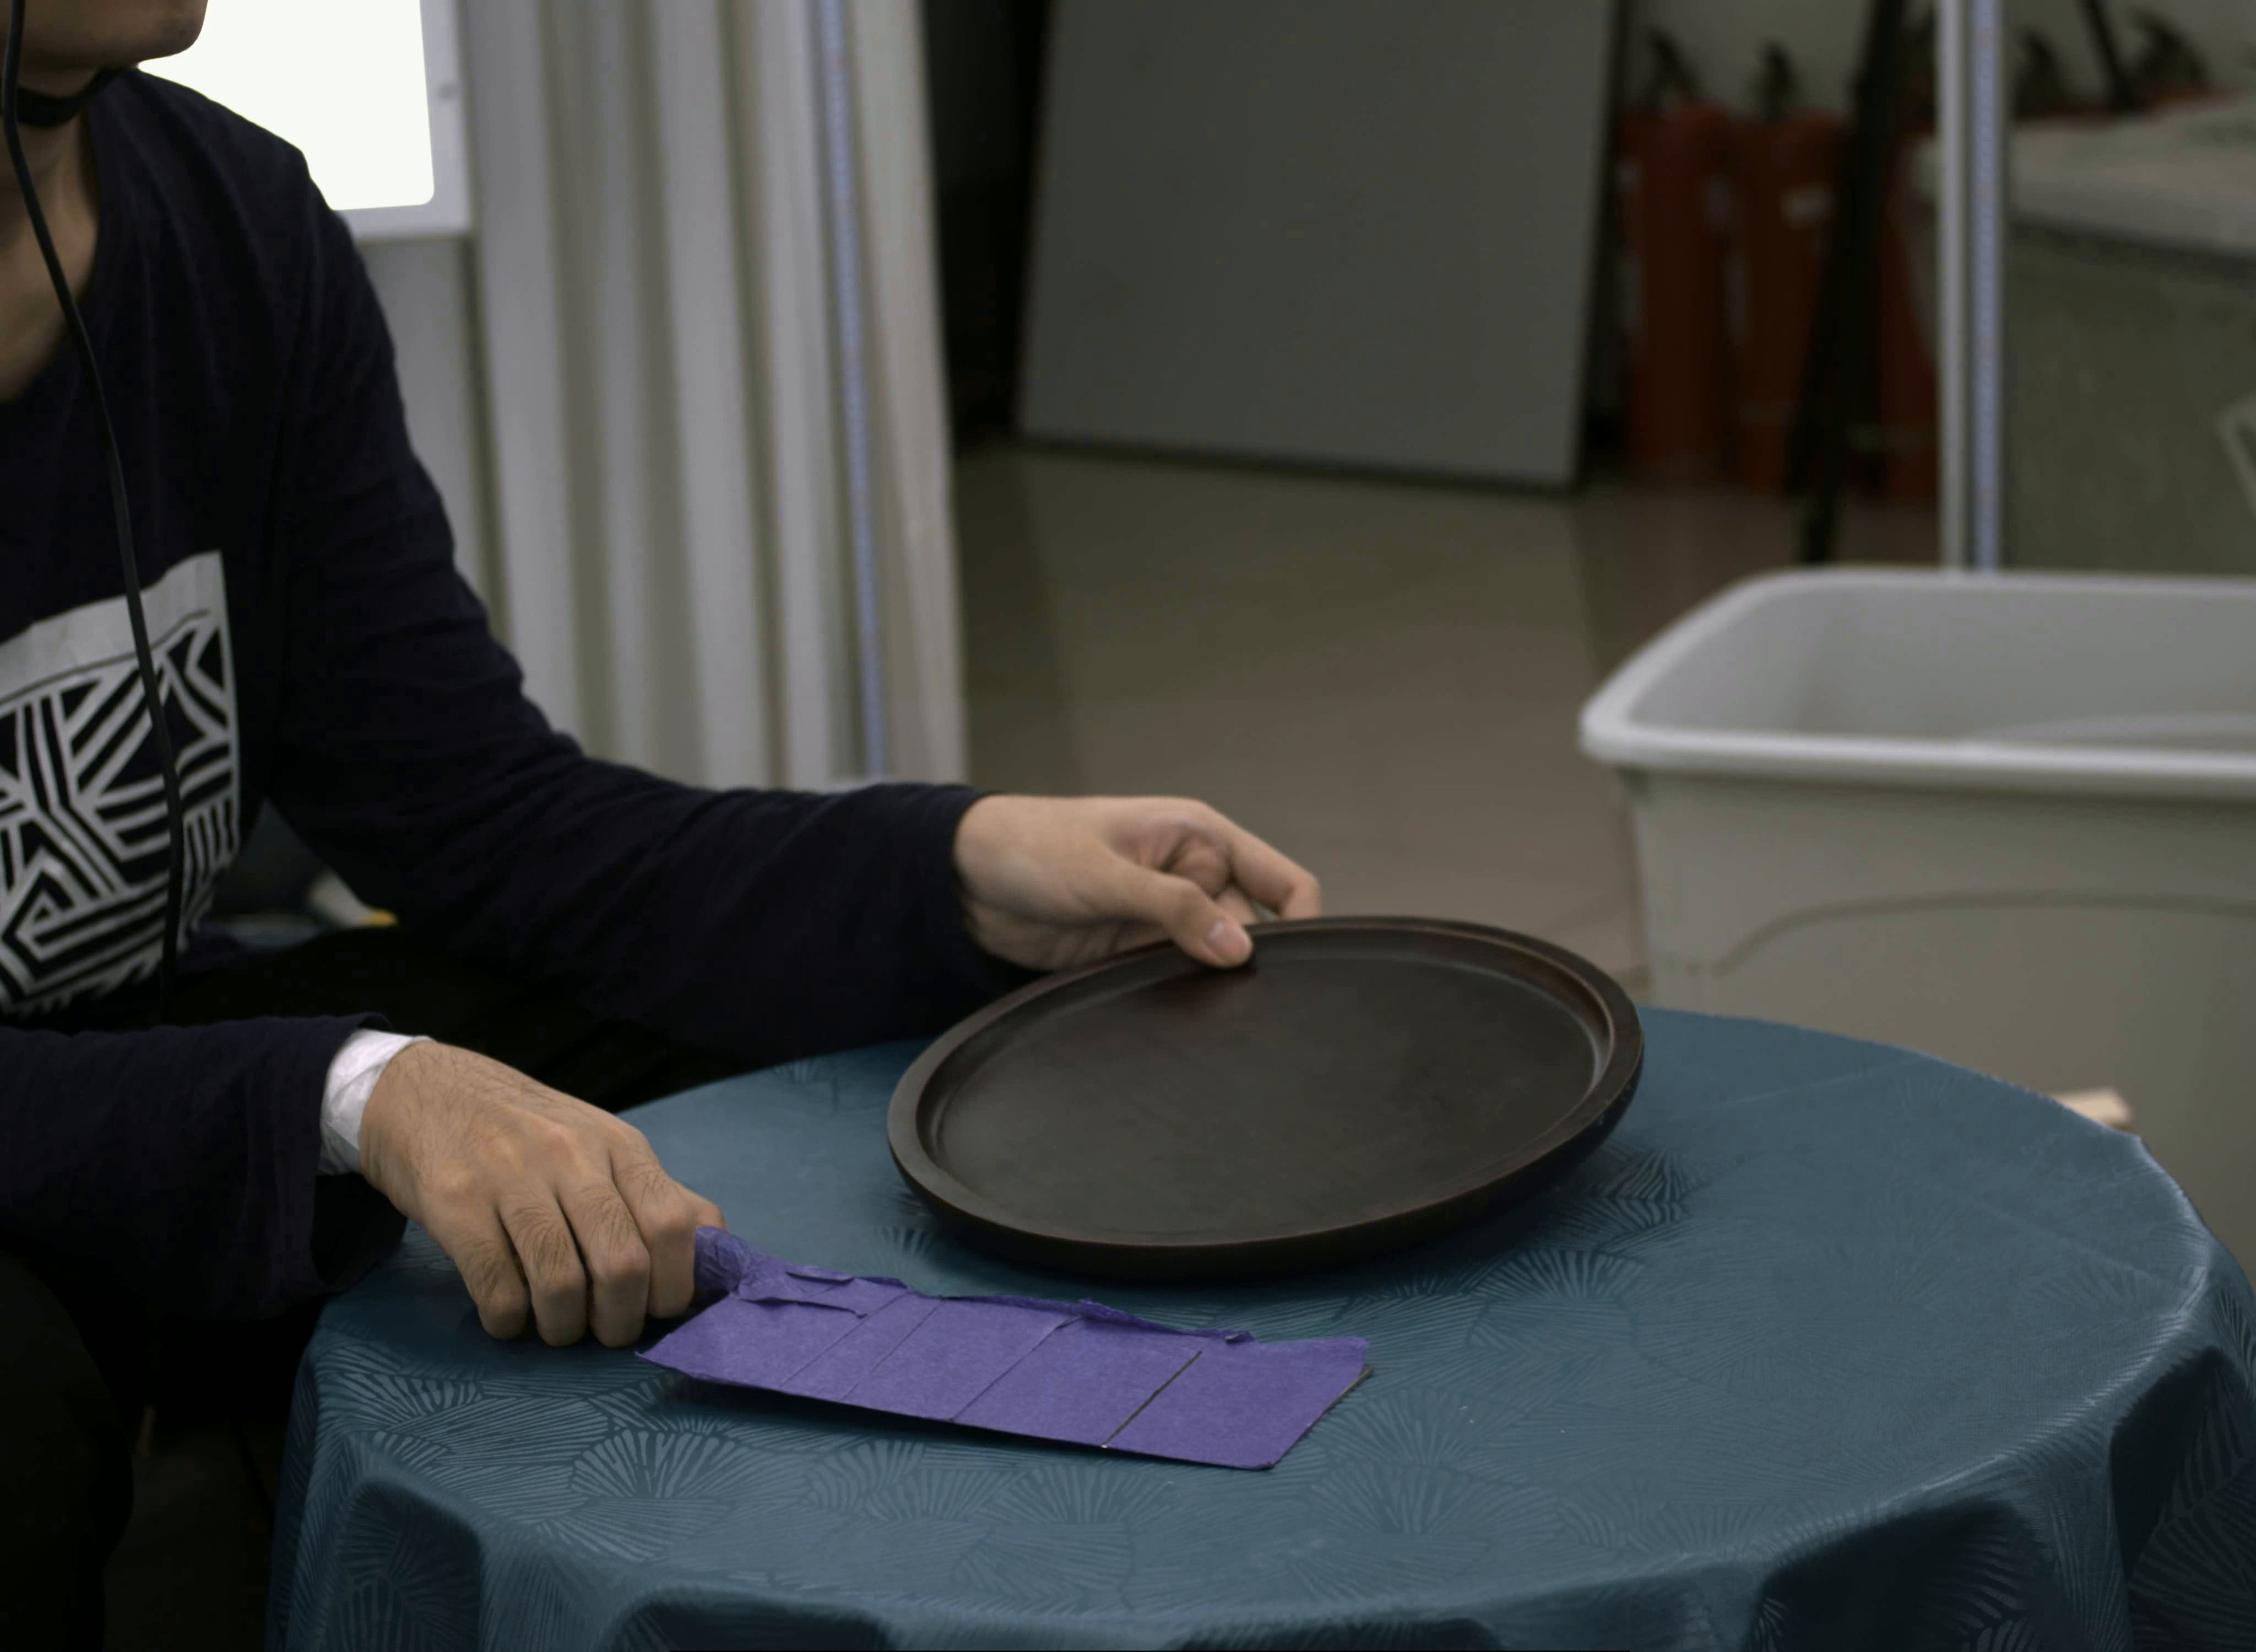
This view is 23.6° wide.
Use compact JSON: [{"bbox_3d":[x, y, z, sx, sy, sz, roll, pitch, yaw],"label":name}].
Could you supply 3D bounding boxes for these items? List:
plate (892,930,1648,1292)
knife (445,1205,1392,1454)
[{"bbox_3d":[0.046,0.091,1.769,0.252,0.029,0.255,-8,21,2],"label":"plate"},{"bbox_3d":[-0.080,0.150,1.617,0.316,0.032,0.102,3,15,26],"label":"knife"}]
